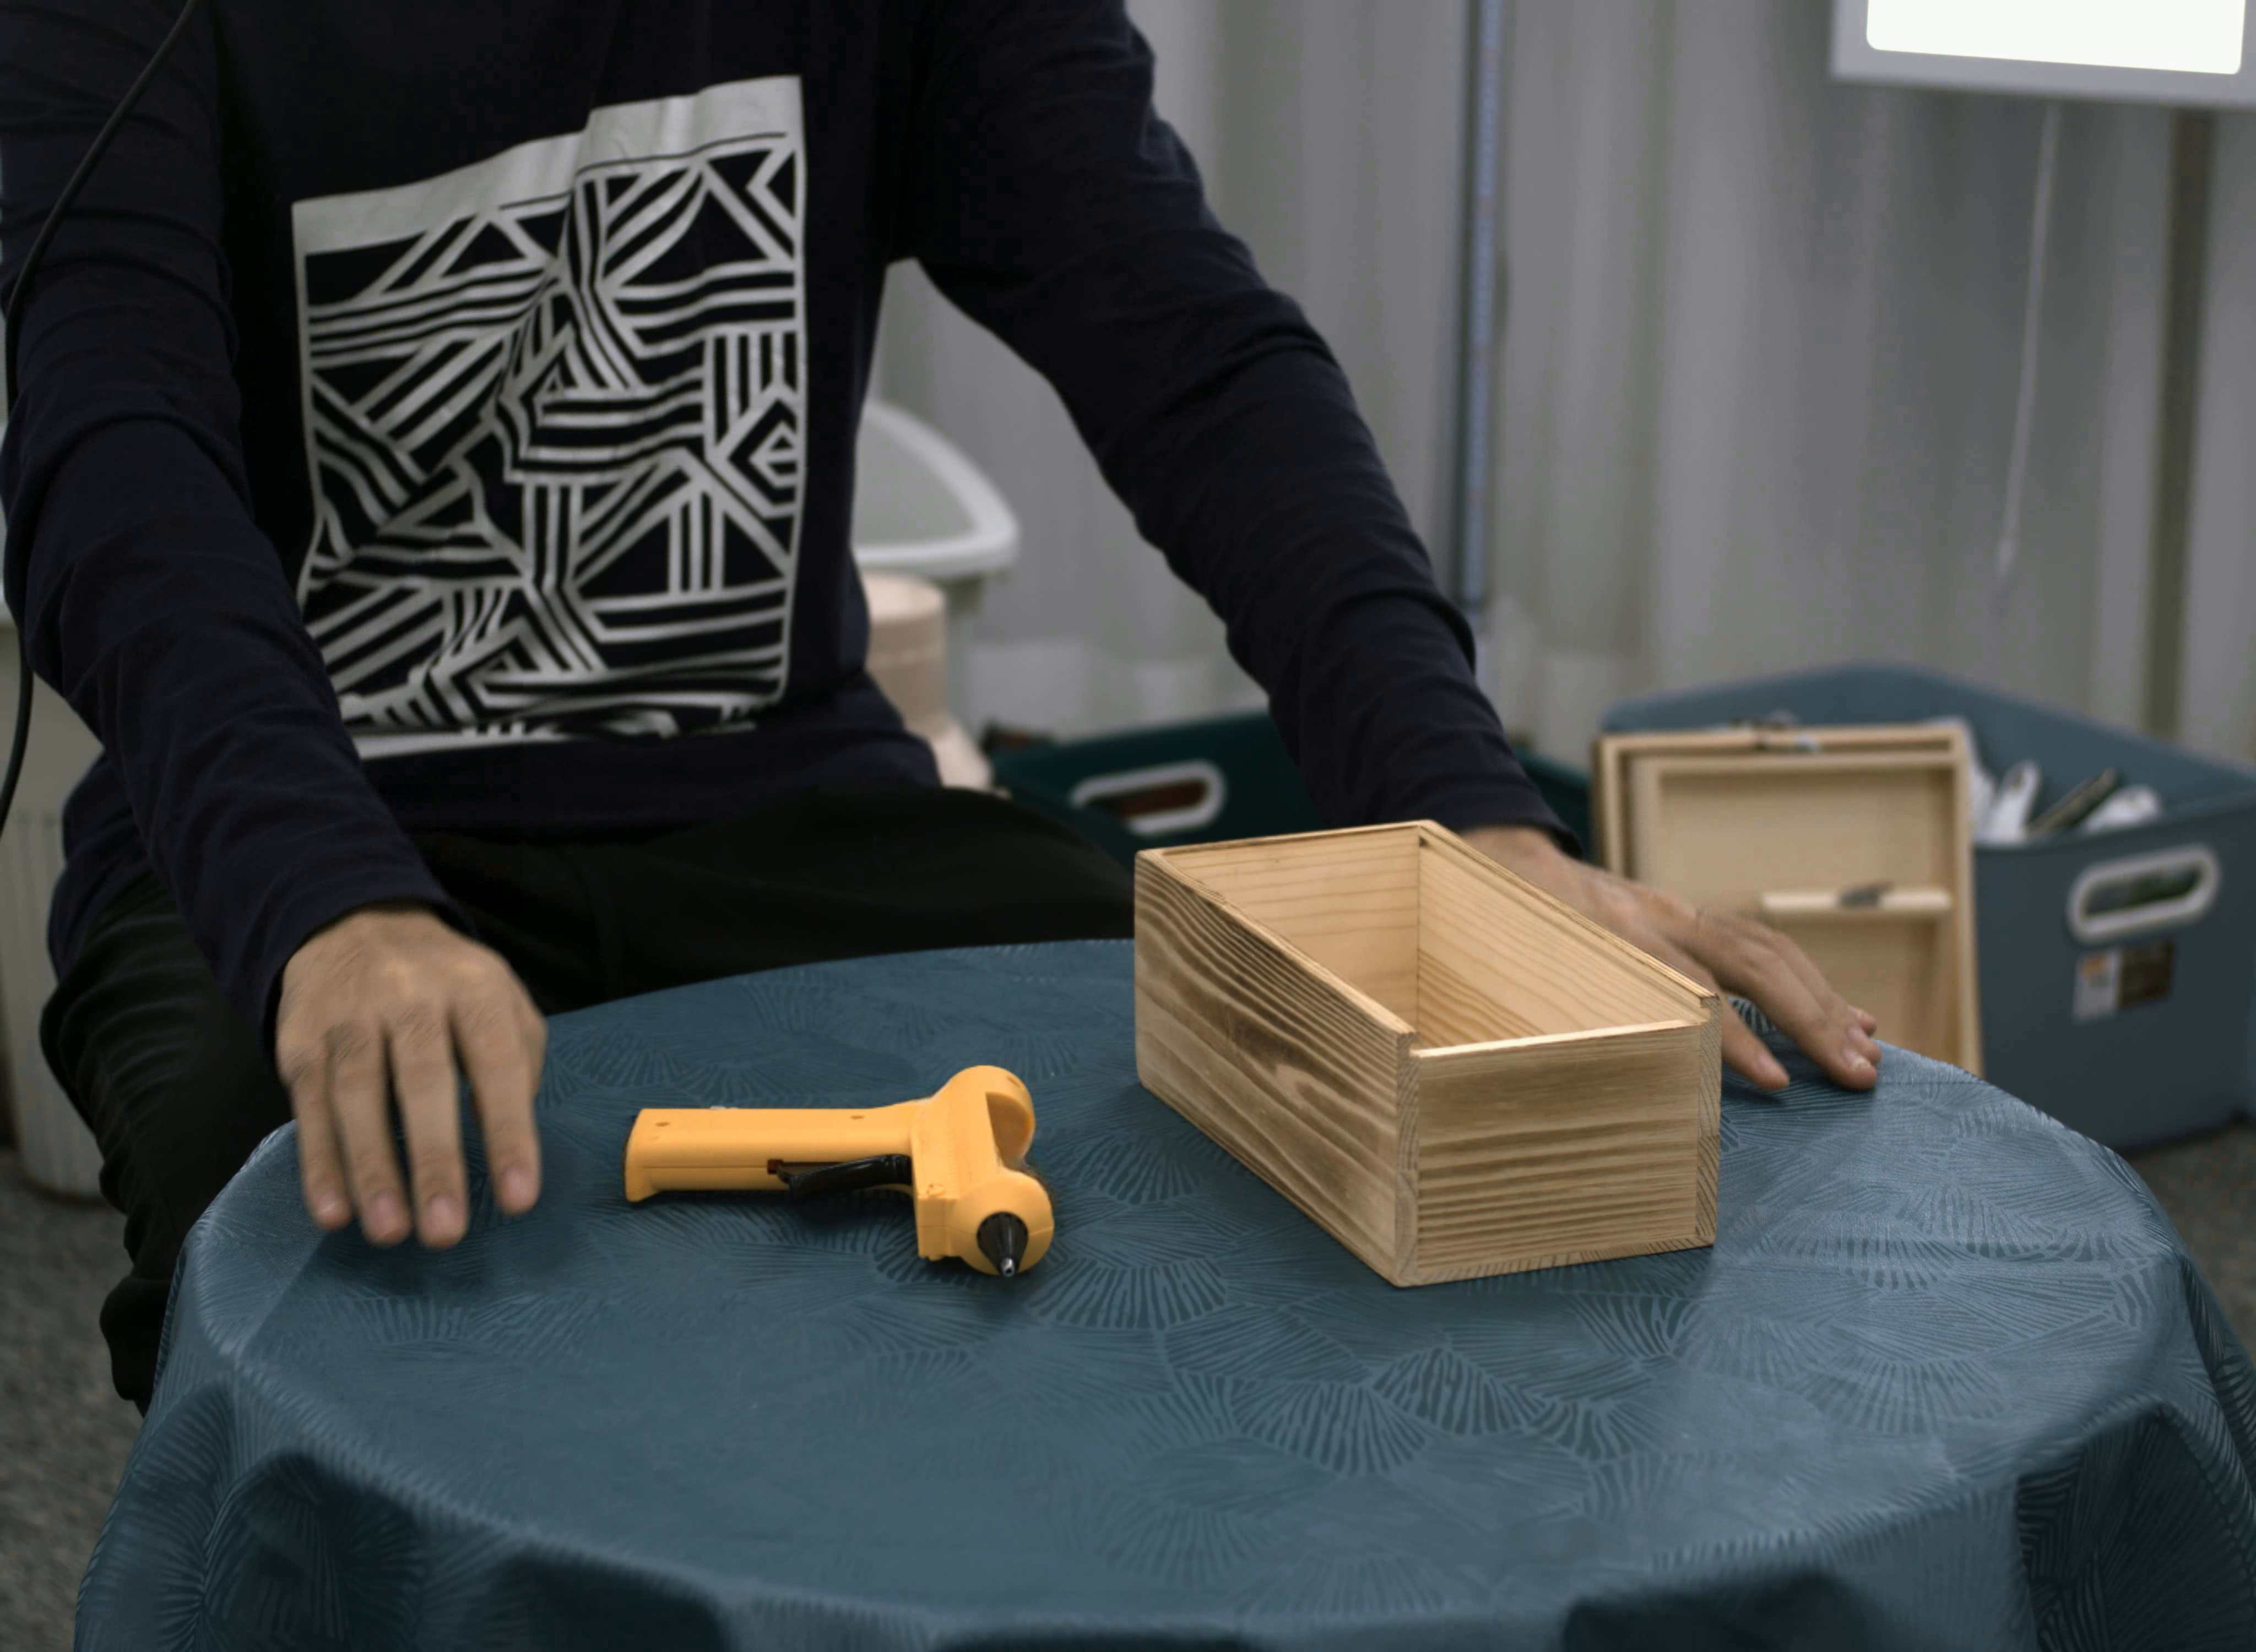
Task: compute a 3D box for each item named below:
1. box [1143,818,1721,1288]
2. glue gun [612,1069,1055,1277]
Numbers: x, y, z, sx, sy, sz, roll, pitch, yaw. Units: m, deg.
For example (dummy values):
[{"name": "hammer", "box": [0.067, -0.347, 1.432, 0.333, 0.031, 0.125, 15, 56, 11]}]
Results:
[{"name": "box", "box": [0.090, 0.067, 1.648, 0.108, 0.081, 0.209, -5, 18, -20]}, {"name": "glue gun", "box": [-0.084, 0.111, 1.582, 0.133, 0.031, 0.150, -3, 15, -10]}]
